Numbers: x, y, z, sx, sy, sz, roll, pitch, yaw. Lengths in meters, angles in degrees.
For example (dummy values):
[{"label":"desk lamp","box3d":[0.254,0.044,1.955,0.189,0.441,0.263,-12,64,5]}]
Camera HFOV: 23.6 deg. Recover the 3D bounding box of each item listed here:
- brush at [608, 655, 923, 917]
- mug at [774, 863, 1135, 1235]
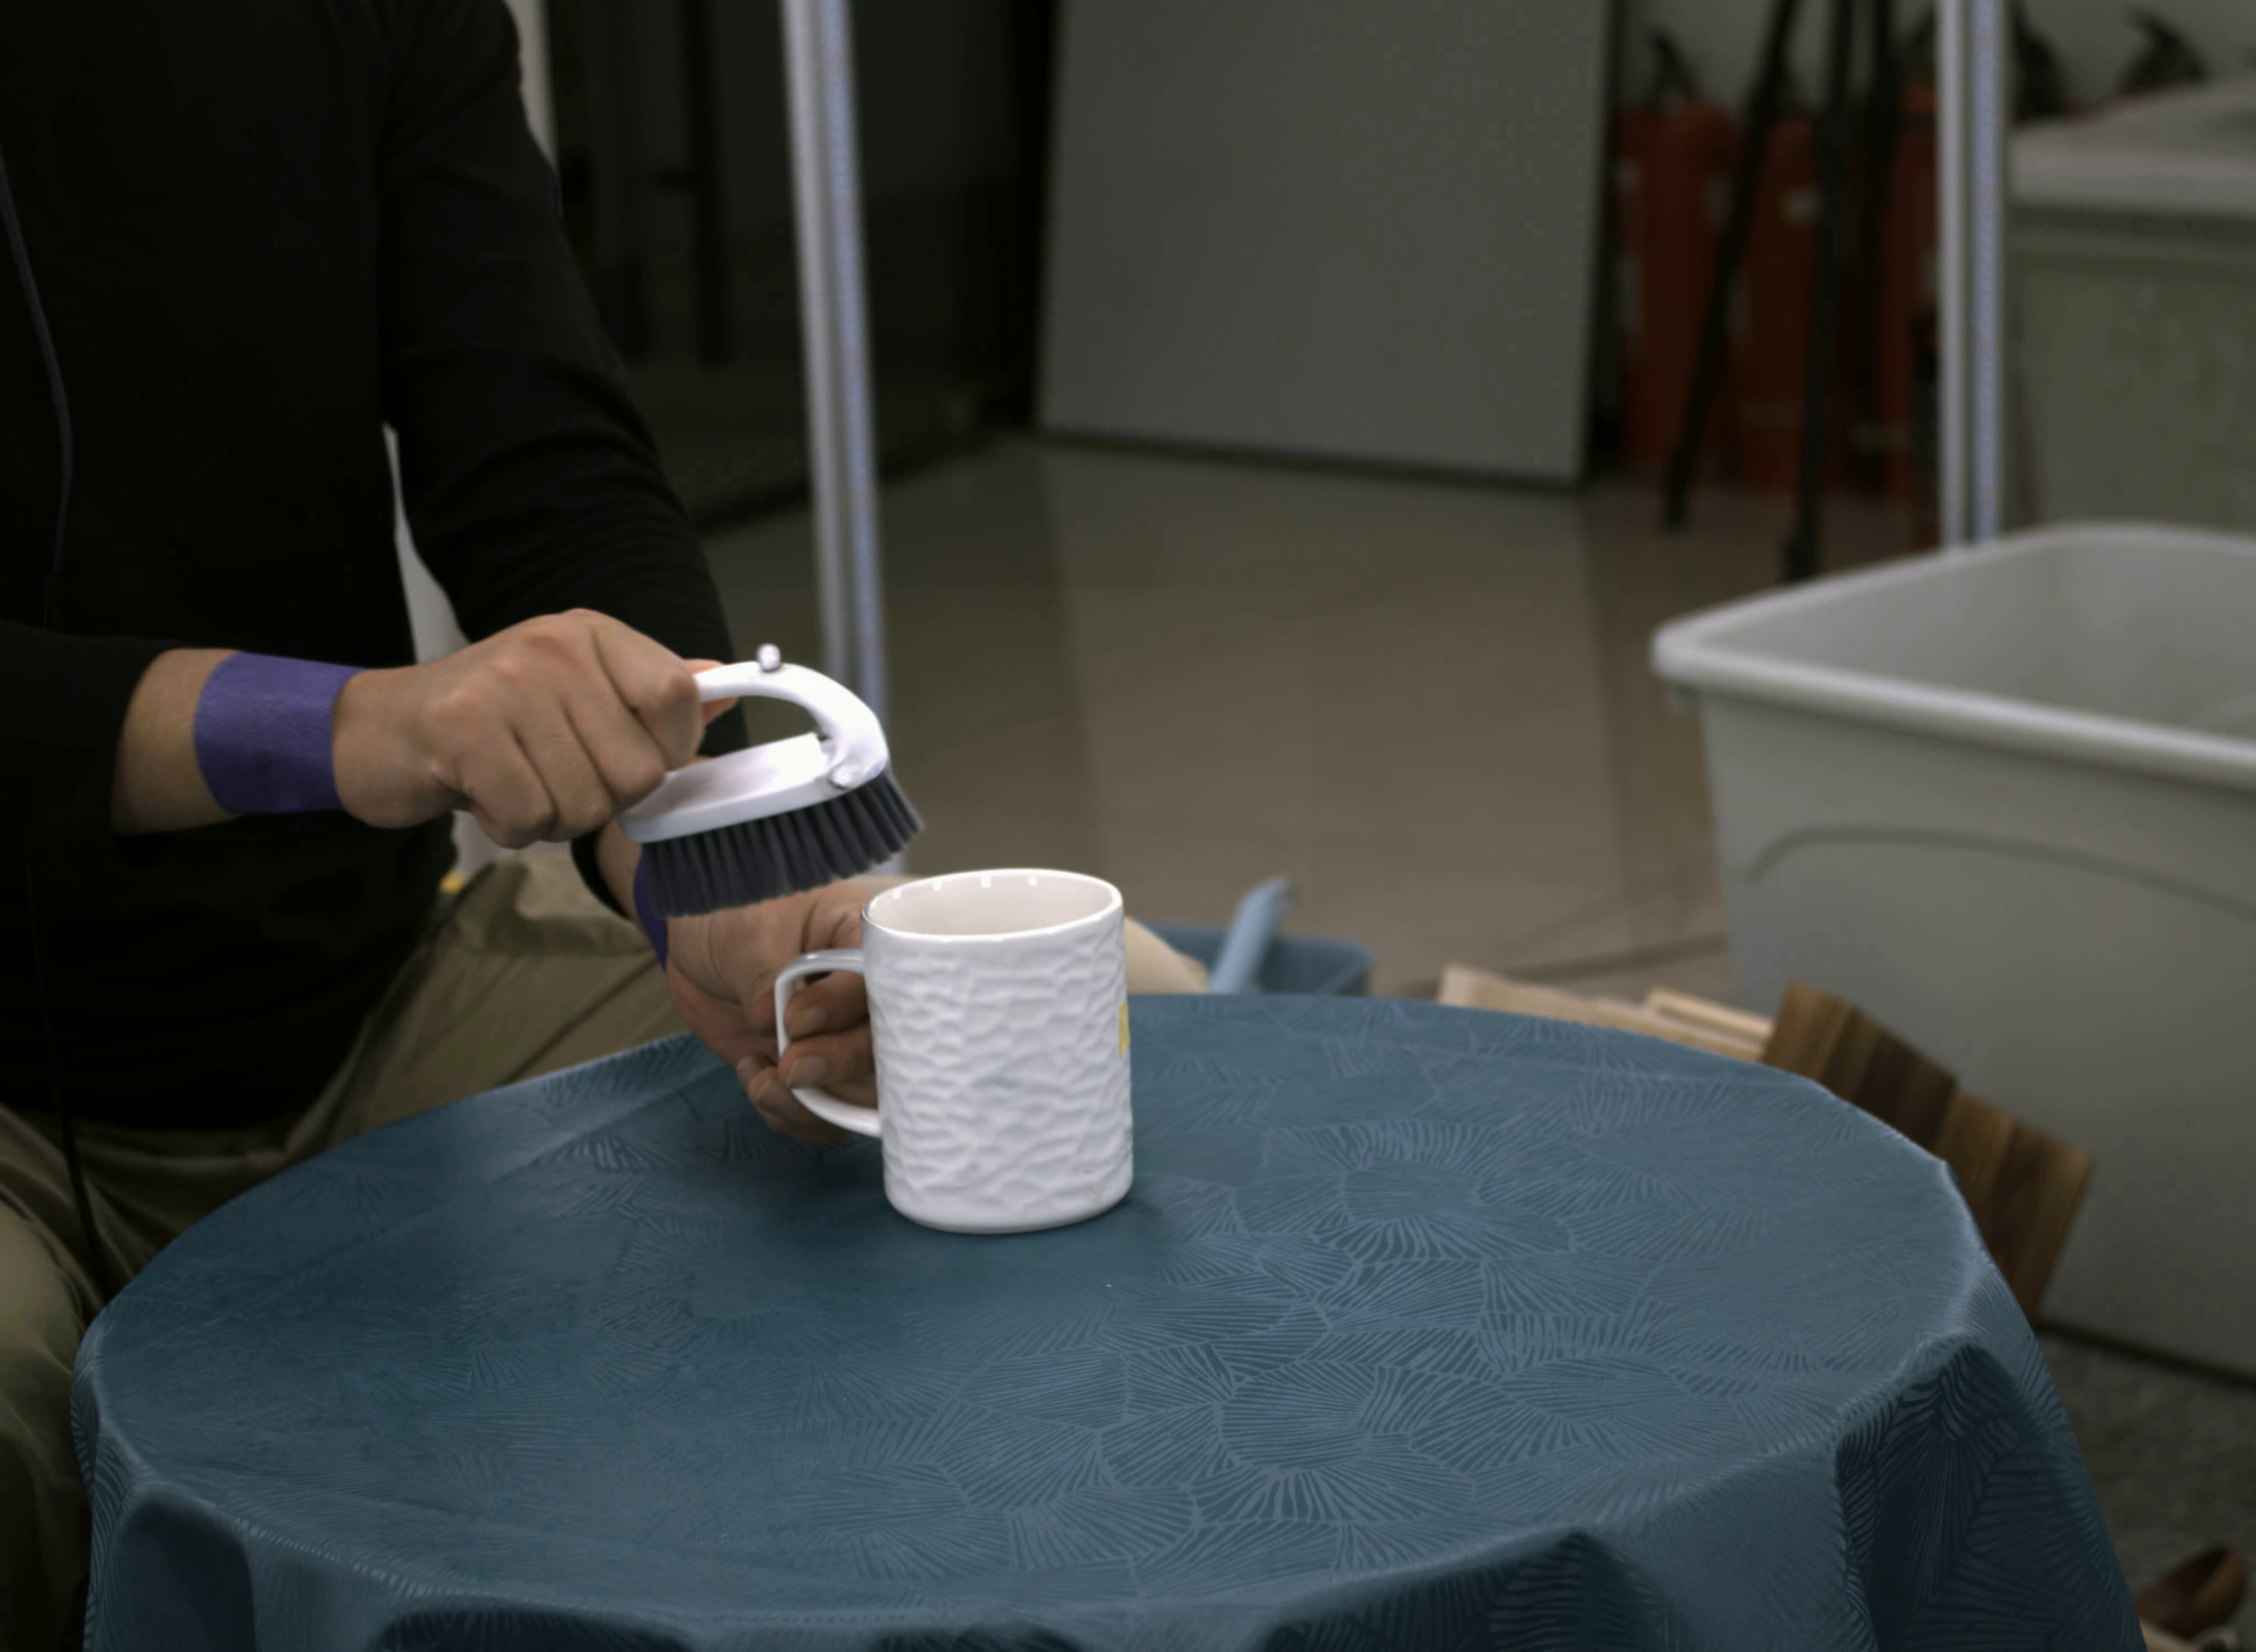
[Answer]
[{"label":"brush","box3d":[-0.122,-0.017,1.747,0.099,0.073,0.050,-13,16,22]},{"label":"mug","box3d":[-0.057,0.073,1.762,0.117,0.103,0.084,-1,14,11]}]
